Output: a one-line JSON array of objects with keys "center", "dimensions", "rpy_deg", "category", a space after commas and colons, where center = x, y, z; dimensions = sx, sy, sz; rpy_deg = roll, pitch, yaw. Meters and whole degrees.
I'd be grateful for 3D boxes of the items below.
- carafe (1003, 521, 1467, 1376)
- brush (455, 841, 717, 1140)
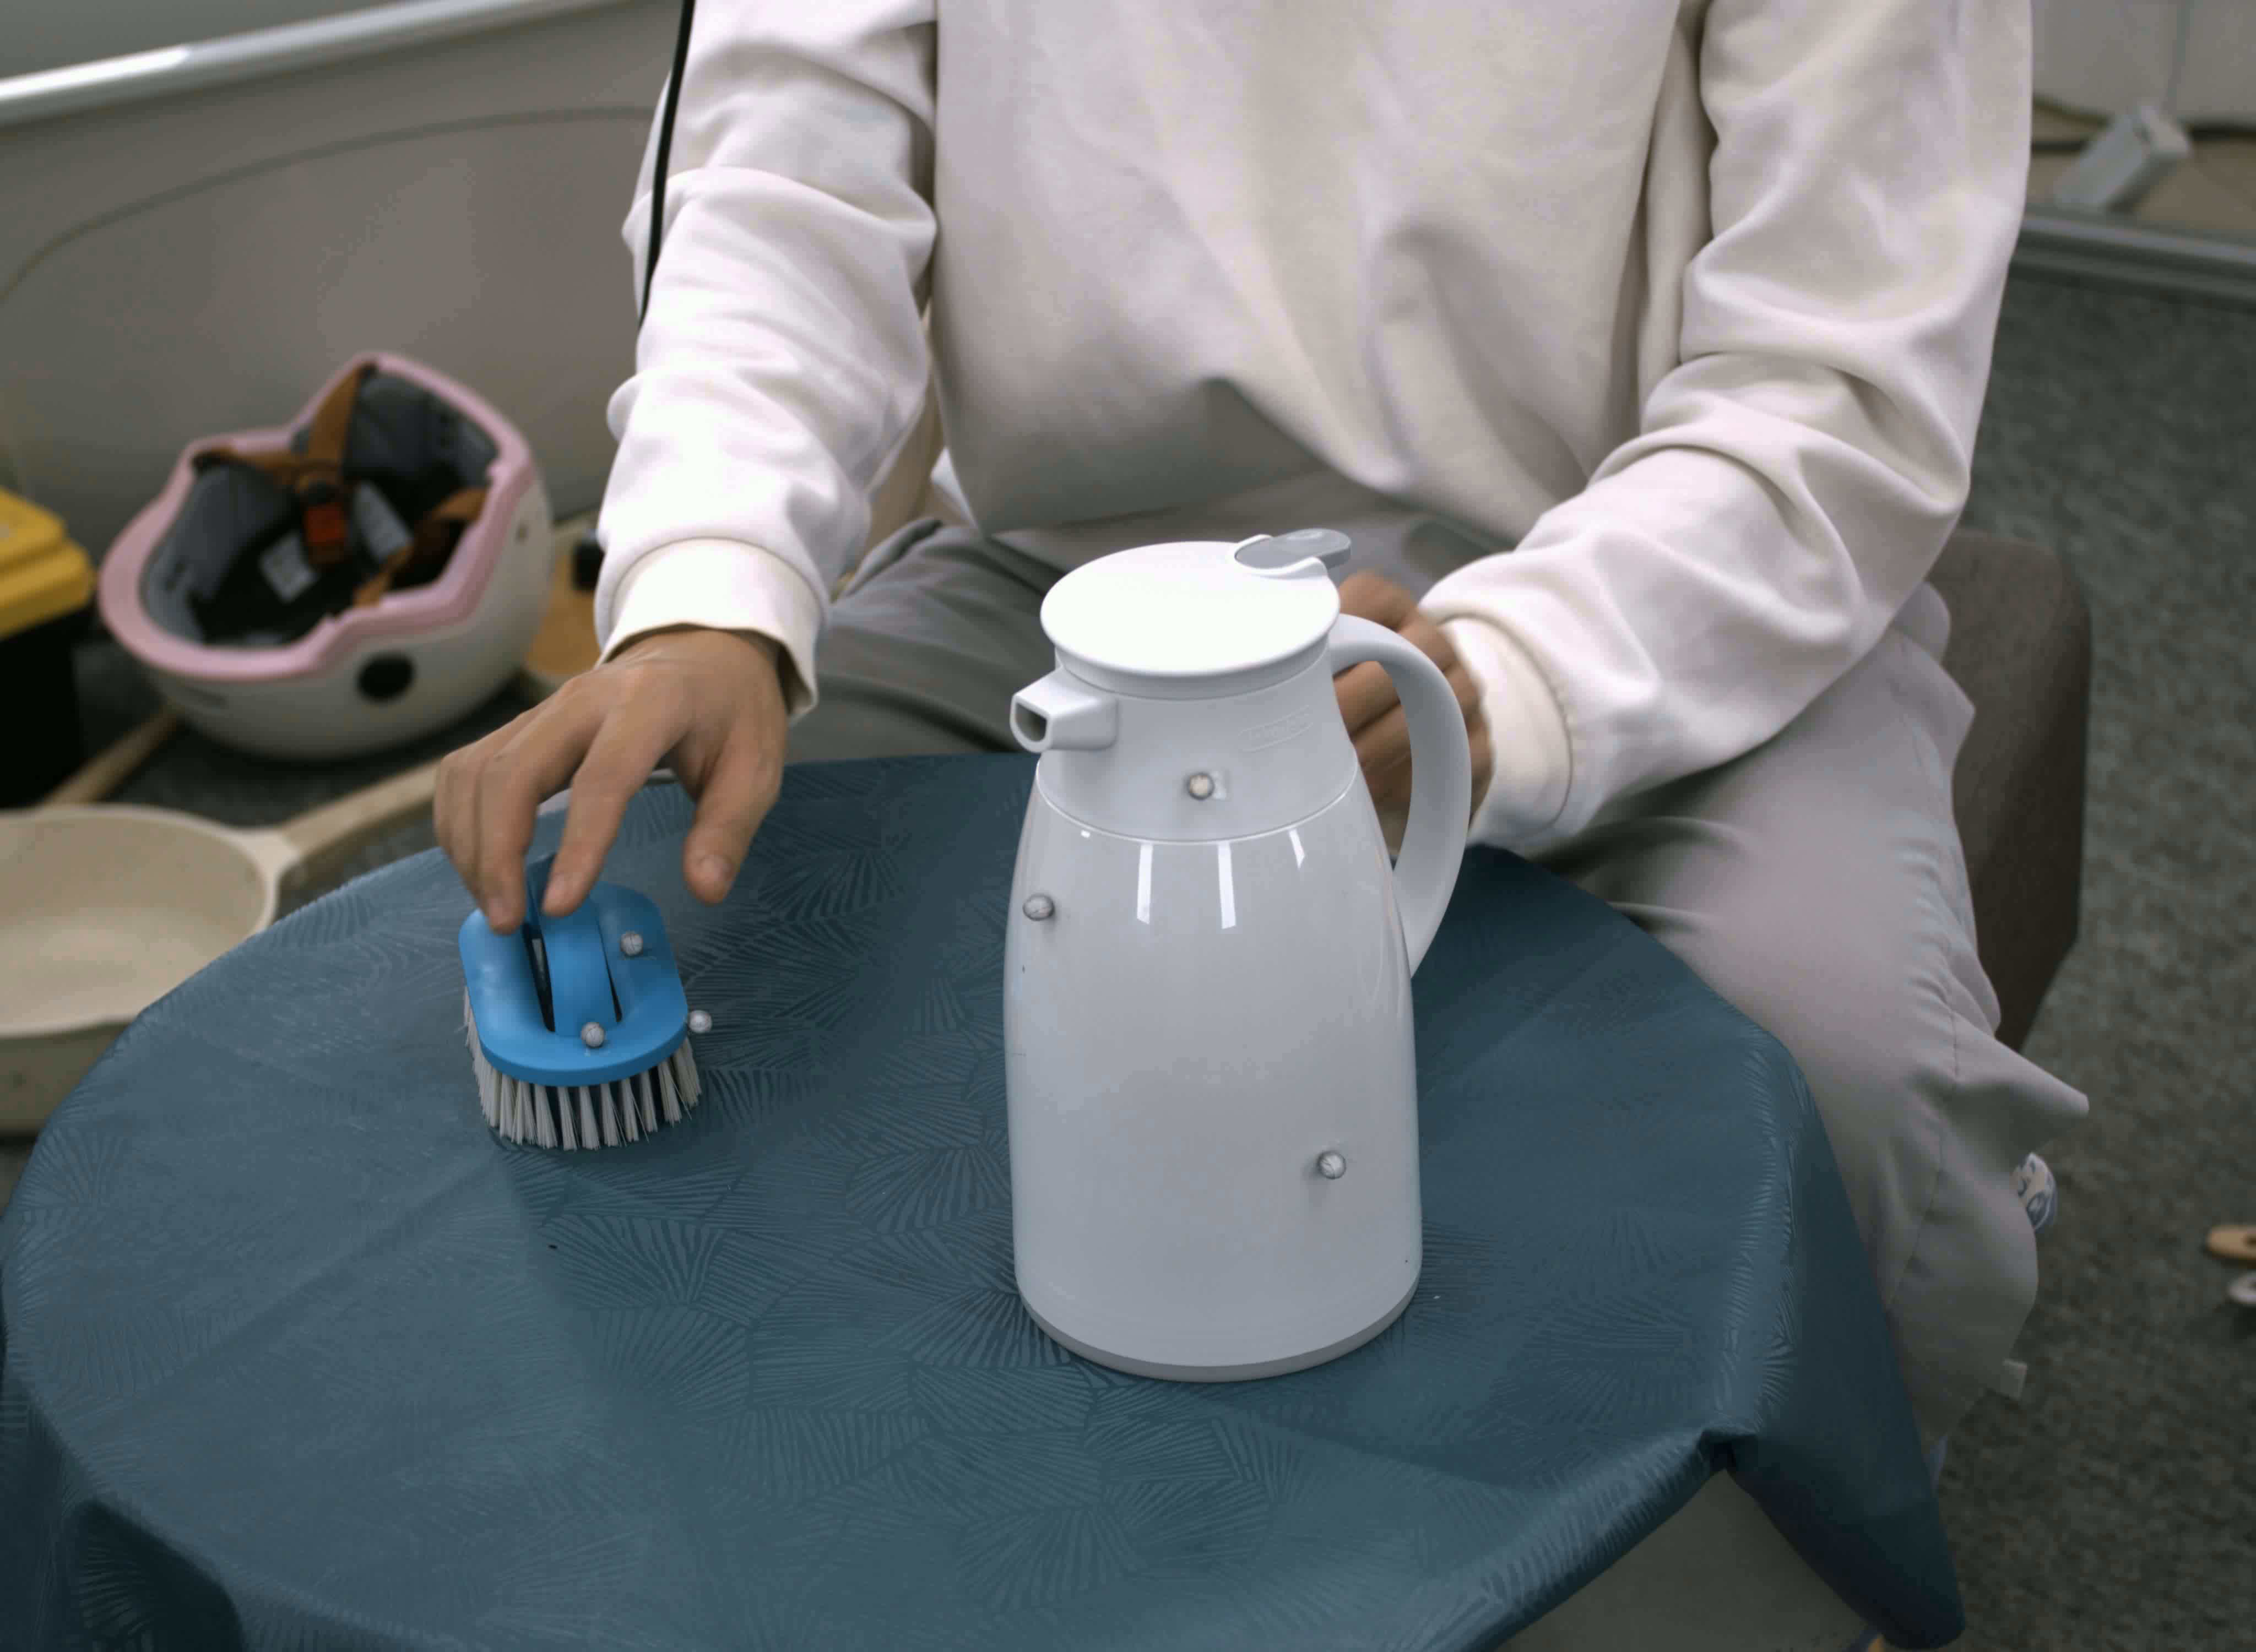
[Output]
[{"center": [0.038, 0.027, 1.776], "dimensions": [0.169, 0.246, 0.132], "rpy_deg": [-21, 32, -34], "category": "carafe"}, {"center": [-0.192, 0.048, 1.949], "dimensions": [0.084, 0.063, 0.143], "rpy_deg": [-11, 28, -5], "category": "brush"}]
